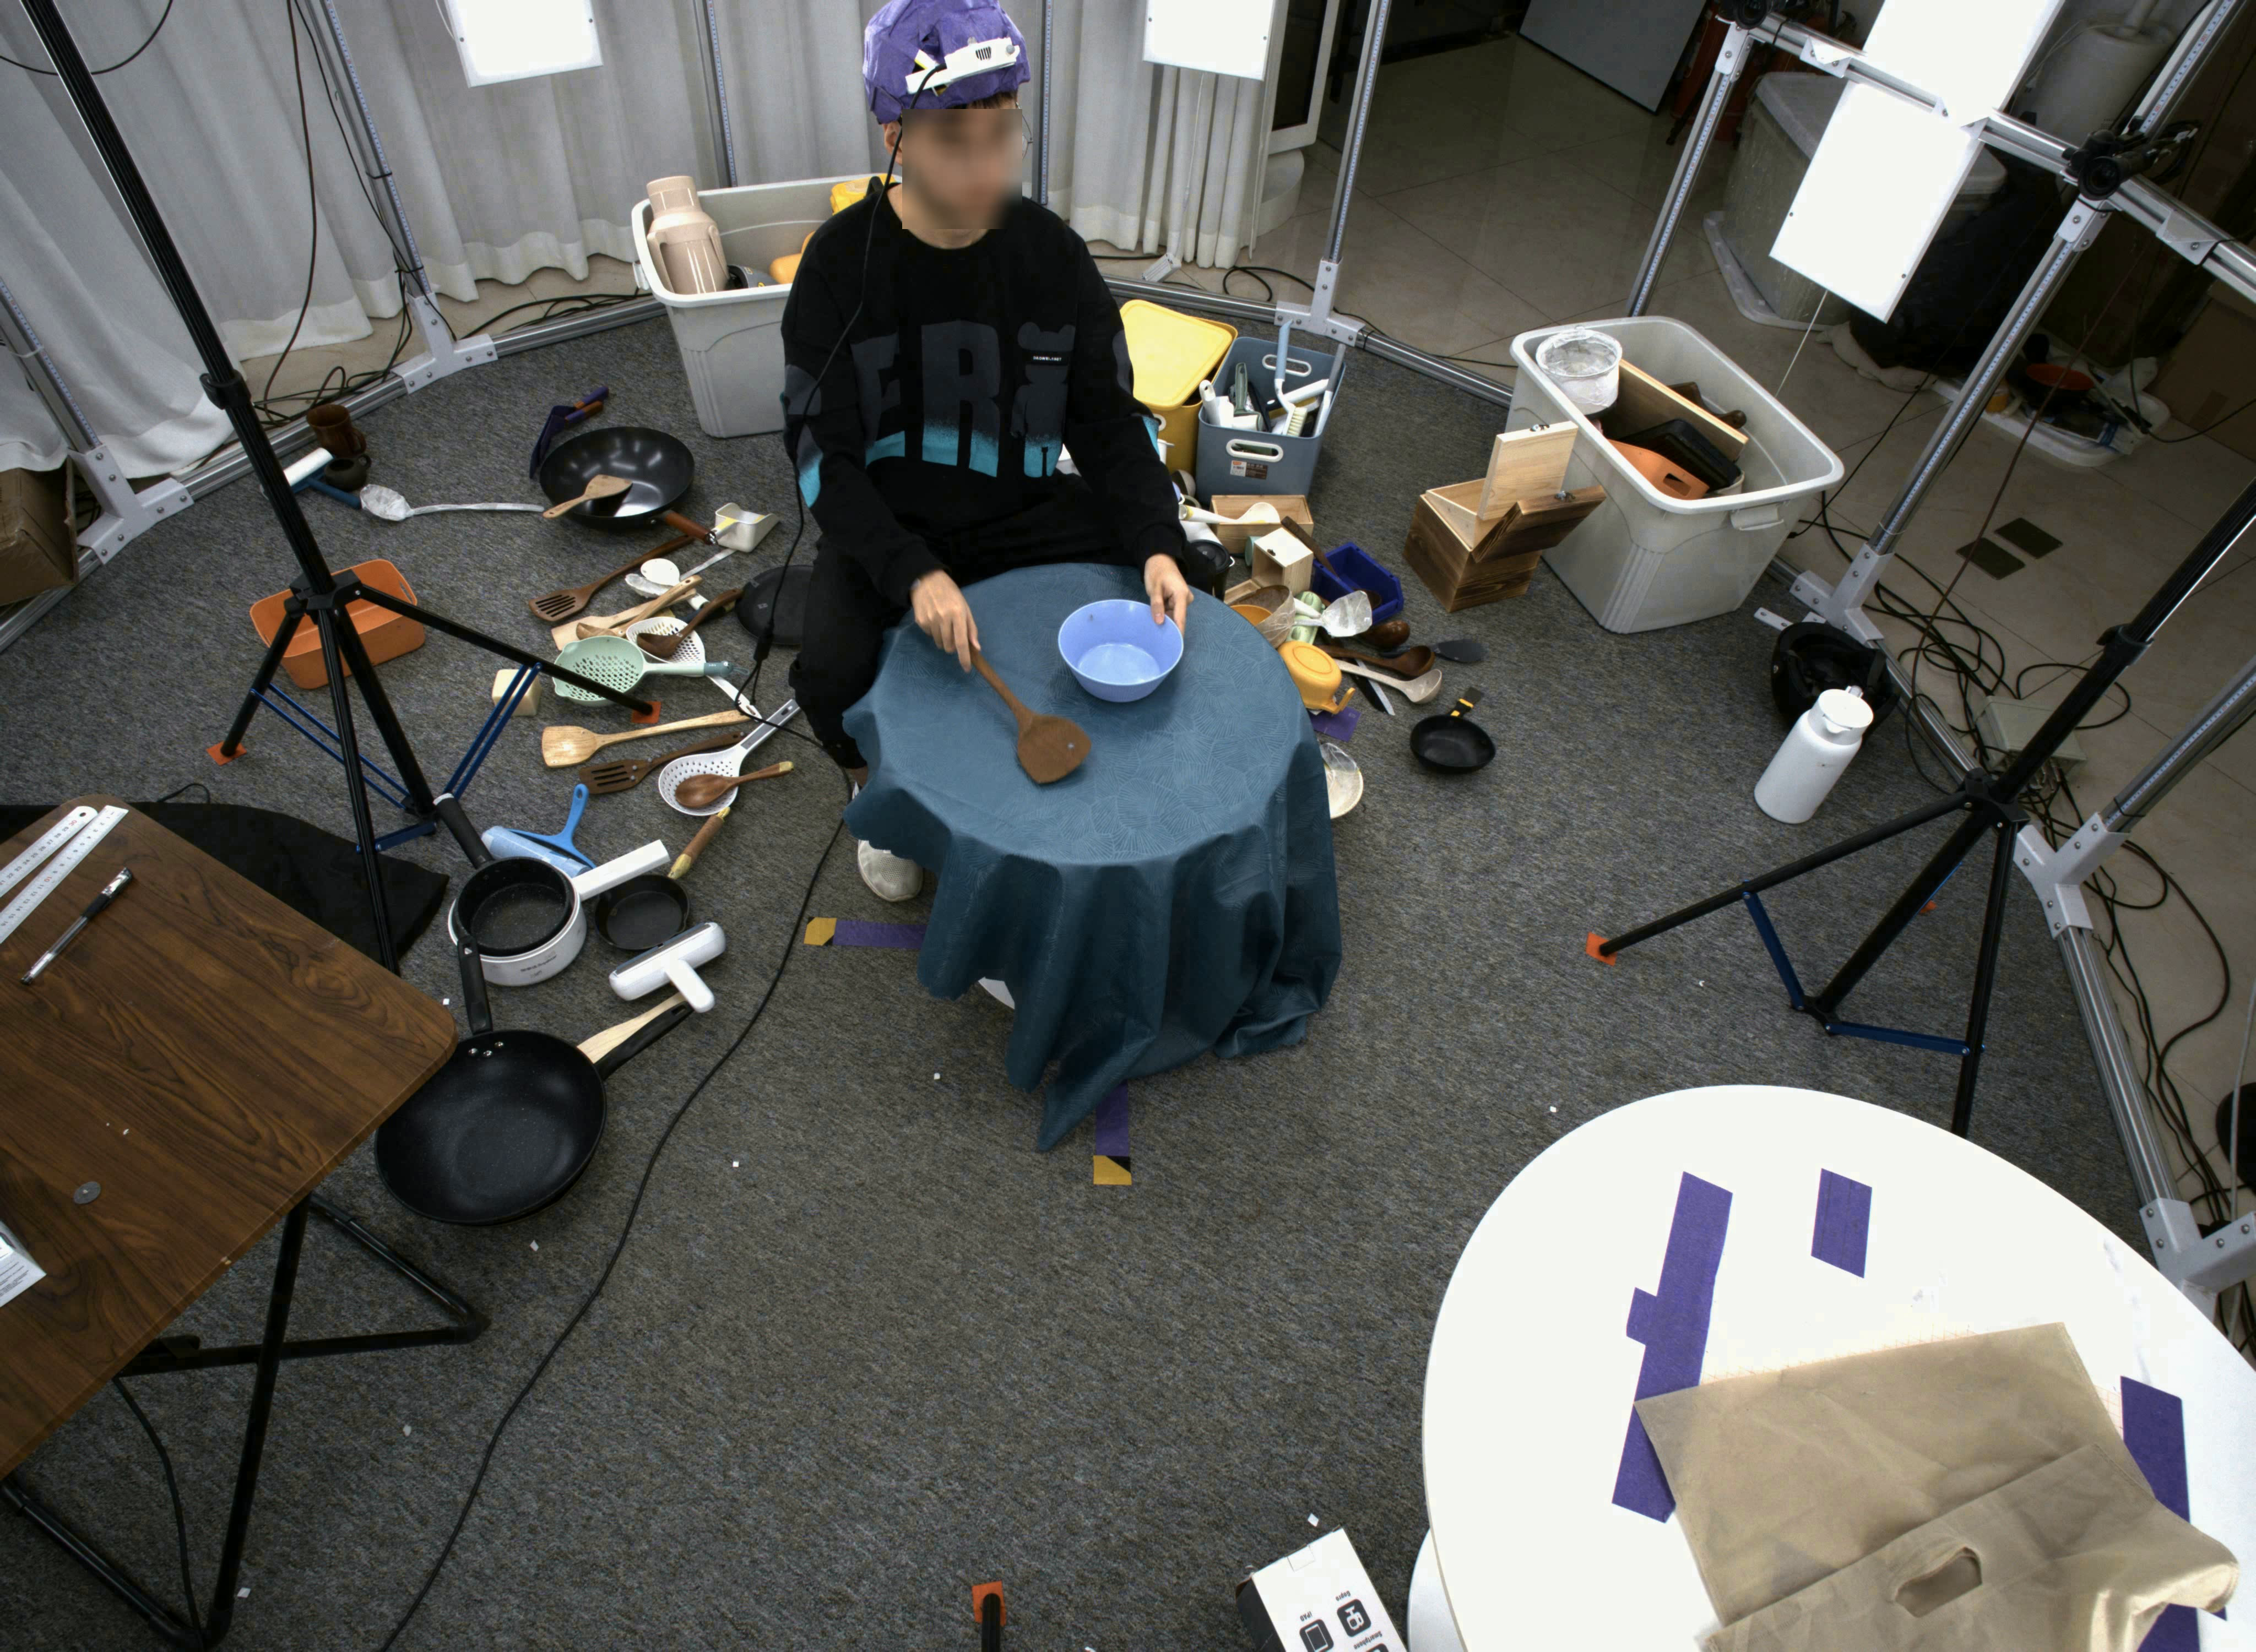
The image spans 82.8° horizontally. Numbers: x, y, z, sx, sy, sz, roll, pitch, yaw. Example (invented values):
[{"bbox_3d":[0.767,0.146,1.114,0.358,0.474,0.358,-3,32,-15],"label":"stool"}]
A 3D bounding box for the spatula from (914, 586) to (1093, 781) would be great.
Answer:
[{"bbox_3d":[-0.190,-0.212,1.797,0.096,0.015,0.392,-38,66,-6],"label":"spatula"}]

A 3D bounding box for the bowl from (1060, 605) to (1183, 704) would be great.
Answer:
[{"bbox_3d":[-0.010,-0.238,1.847,0.176,0.068,0.180,2,47,-2],"label":"bowl"}]
